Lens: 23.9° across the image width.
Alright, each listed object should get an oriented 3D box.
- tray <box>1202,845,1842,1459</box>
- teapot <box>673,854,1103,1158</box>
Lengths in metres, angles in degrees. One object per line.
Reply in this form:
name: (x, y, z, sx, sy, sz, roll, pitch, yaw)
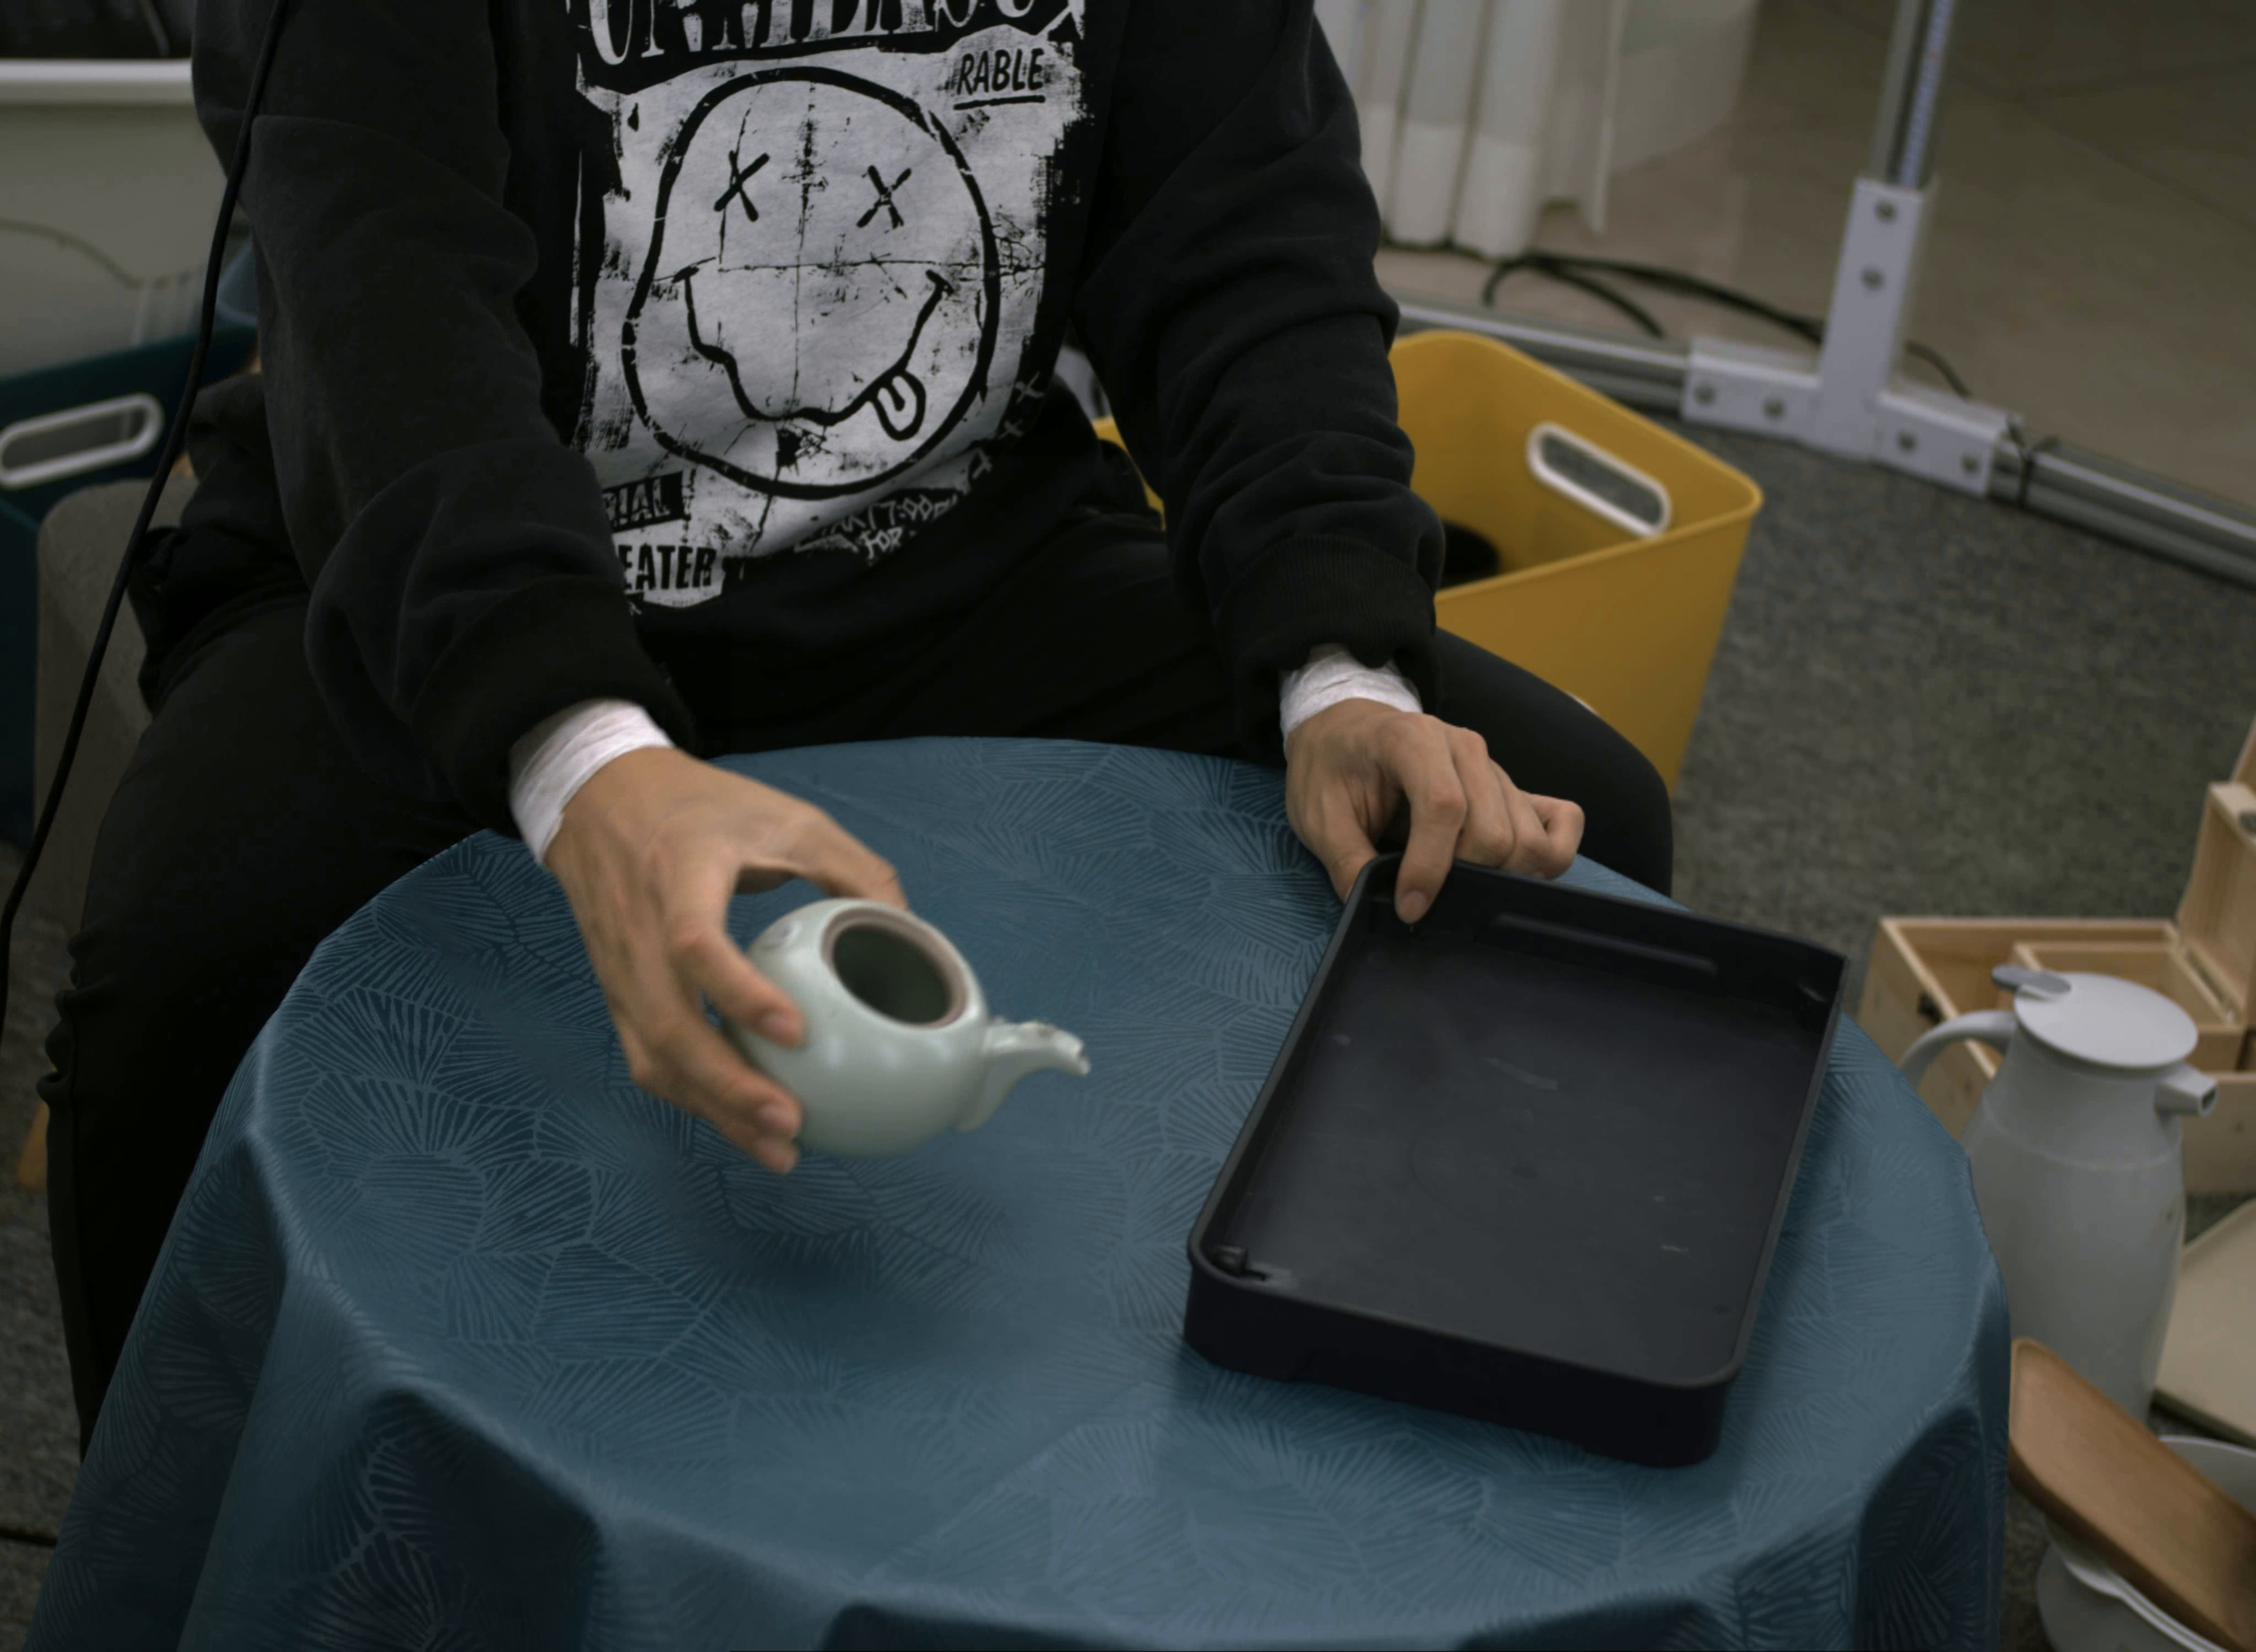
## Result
tray: (0.140, 0.105, 1.830, 0.184, 0.037, 0.319, 11, 28, 8)
teapot: (-0.085, 0.065, 1.723, 0.143, 0.074, 0.089, 27, 33, -6)
